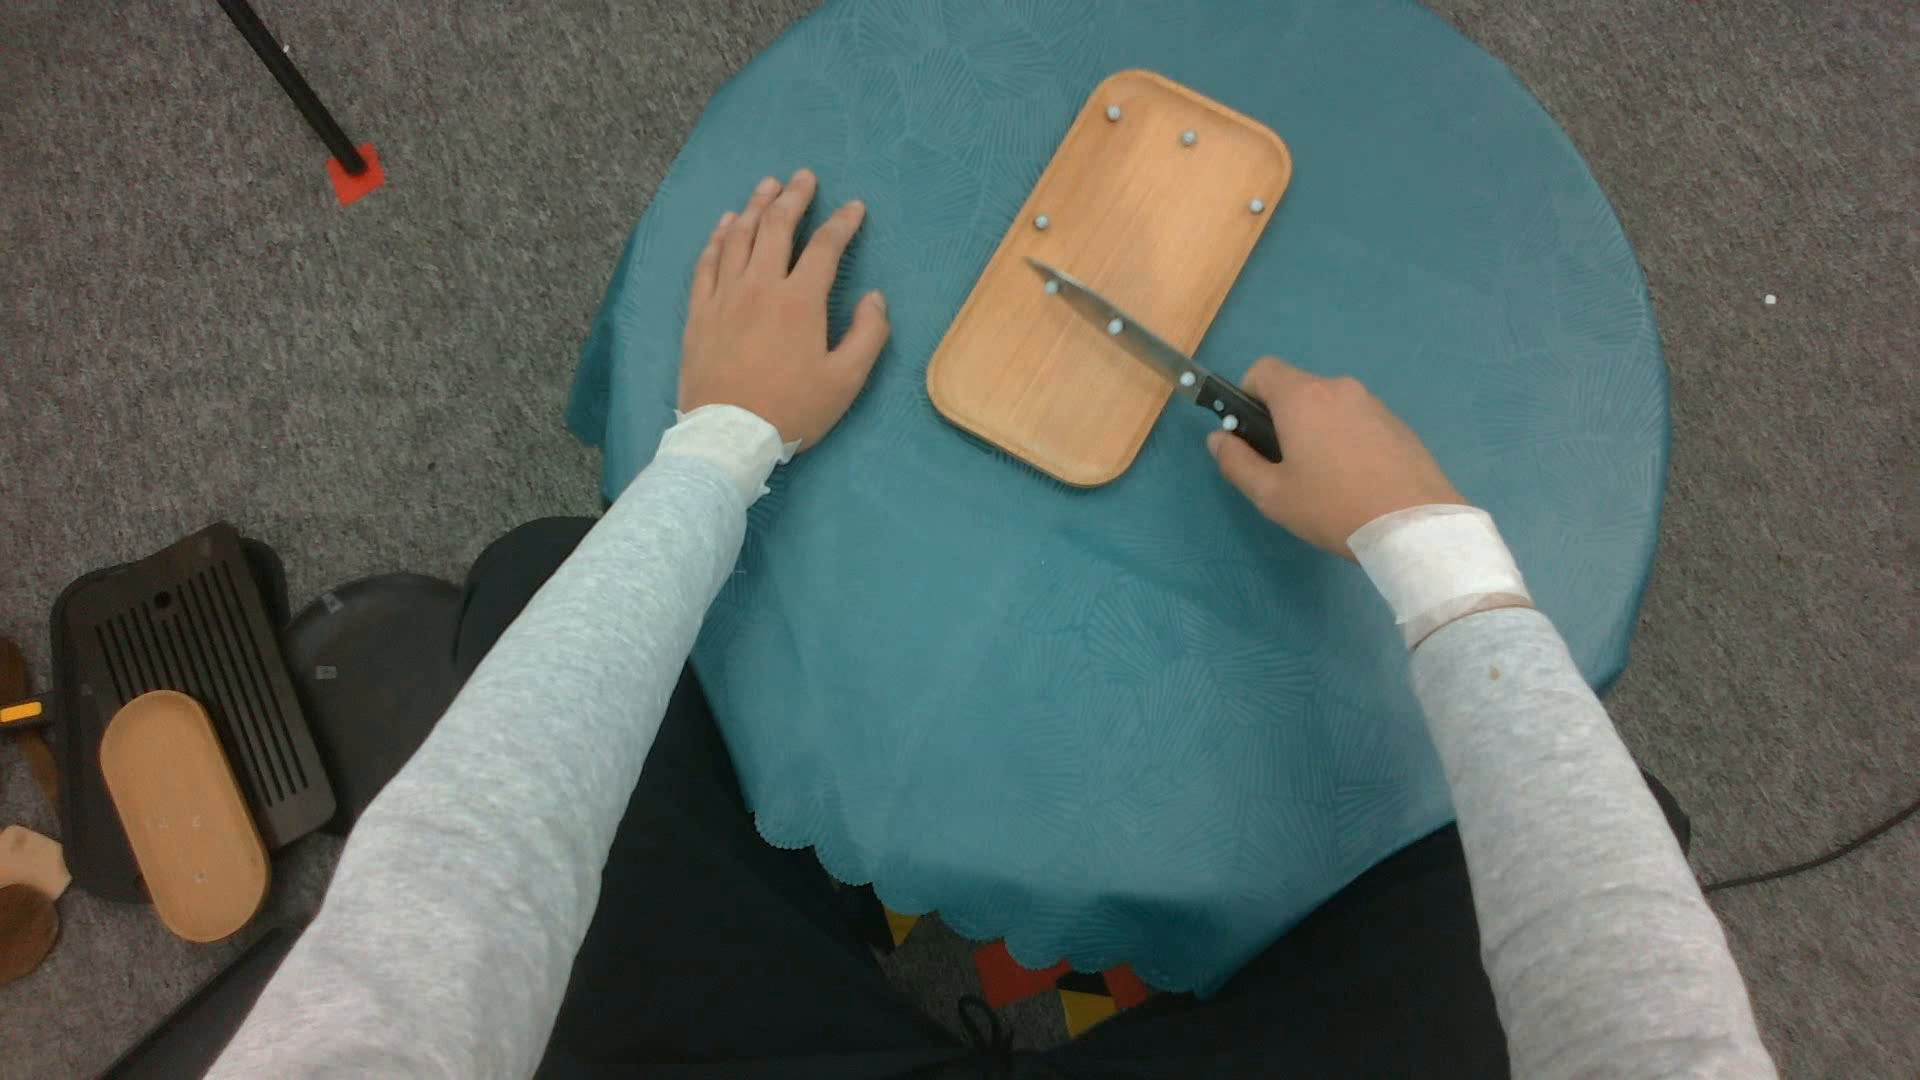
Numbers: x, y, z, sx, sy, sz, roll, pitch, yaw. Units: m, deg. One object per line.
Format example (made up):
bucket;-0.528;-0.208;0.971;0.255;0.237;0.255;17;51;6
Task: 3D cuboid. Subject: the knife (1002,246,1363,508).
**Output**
knife;0.114;-0.093;0.729;0.238;0.024;0.016;38;55;16

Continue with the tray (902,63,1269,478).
tray;0.074;-0.158;0.789;0.130;0.023;0.251;28;76;9
